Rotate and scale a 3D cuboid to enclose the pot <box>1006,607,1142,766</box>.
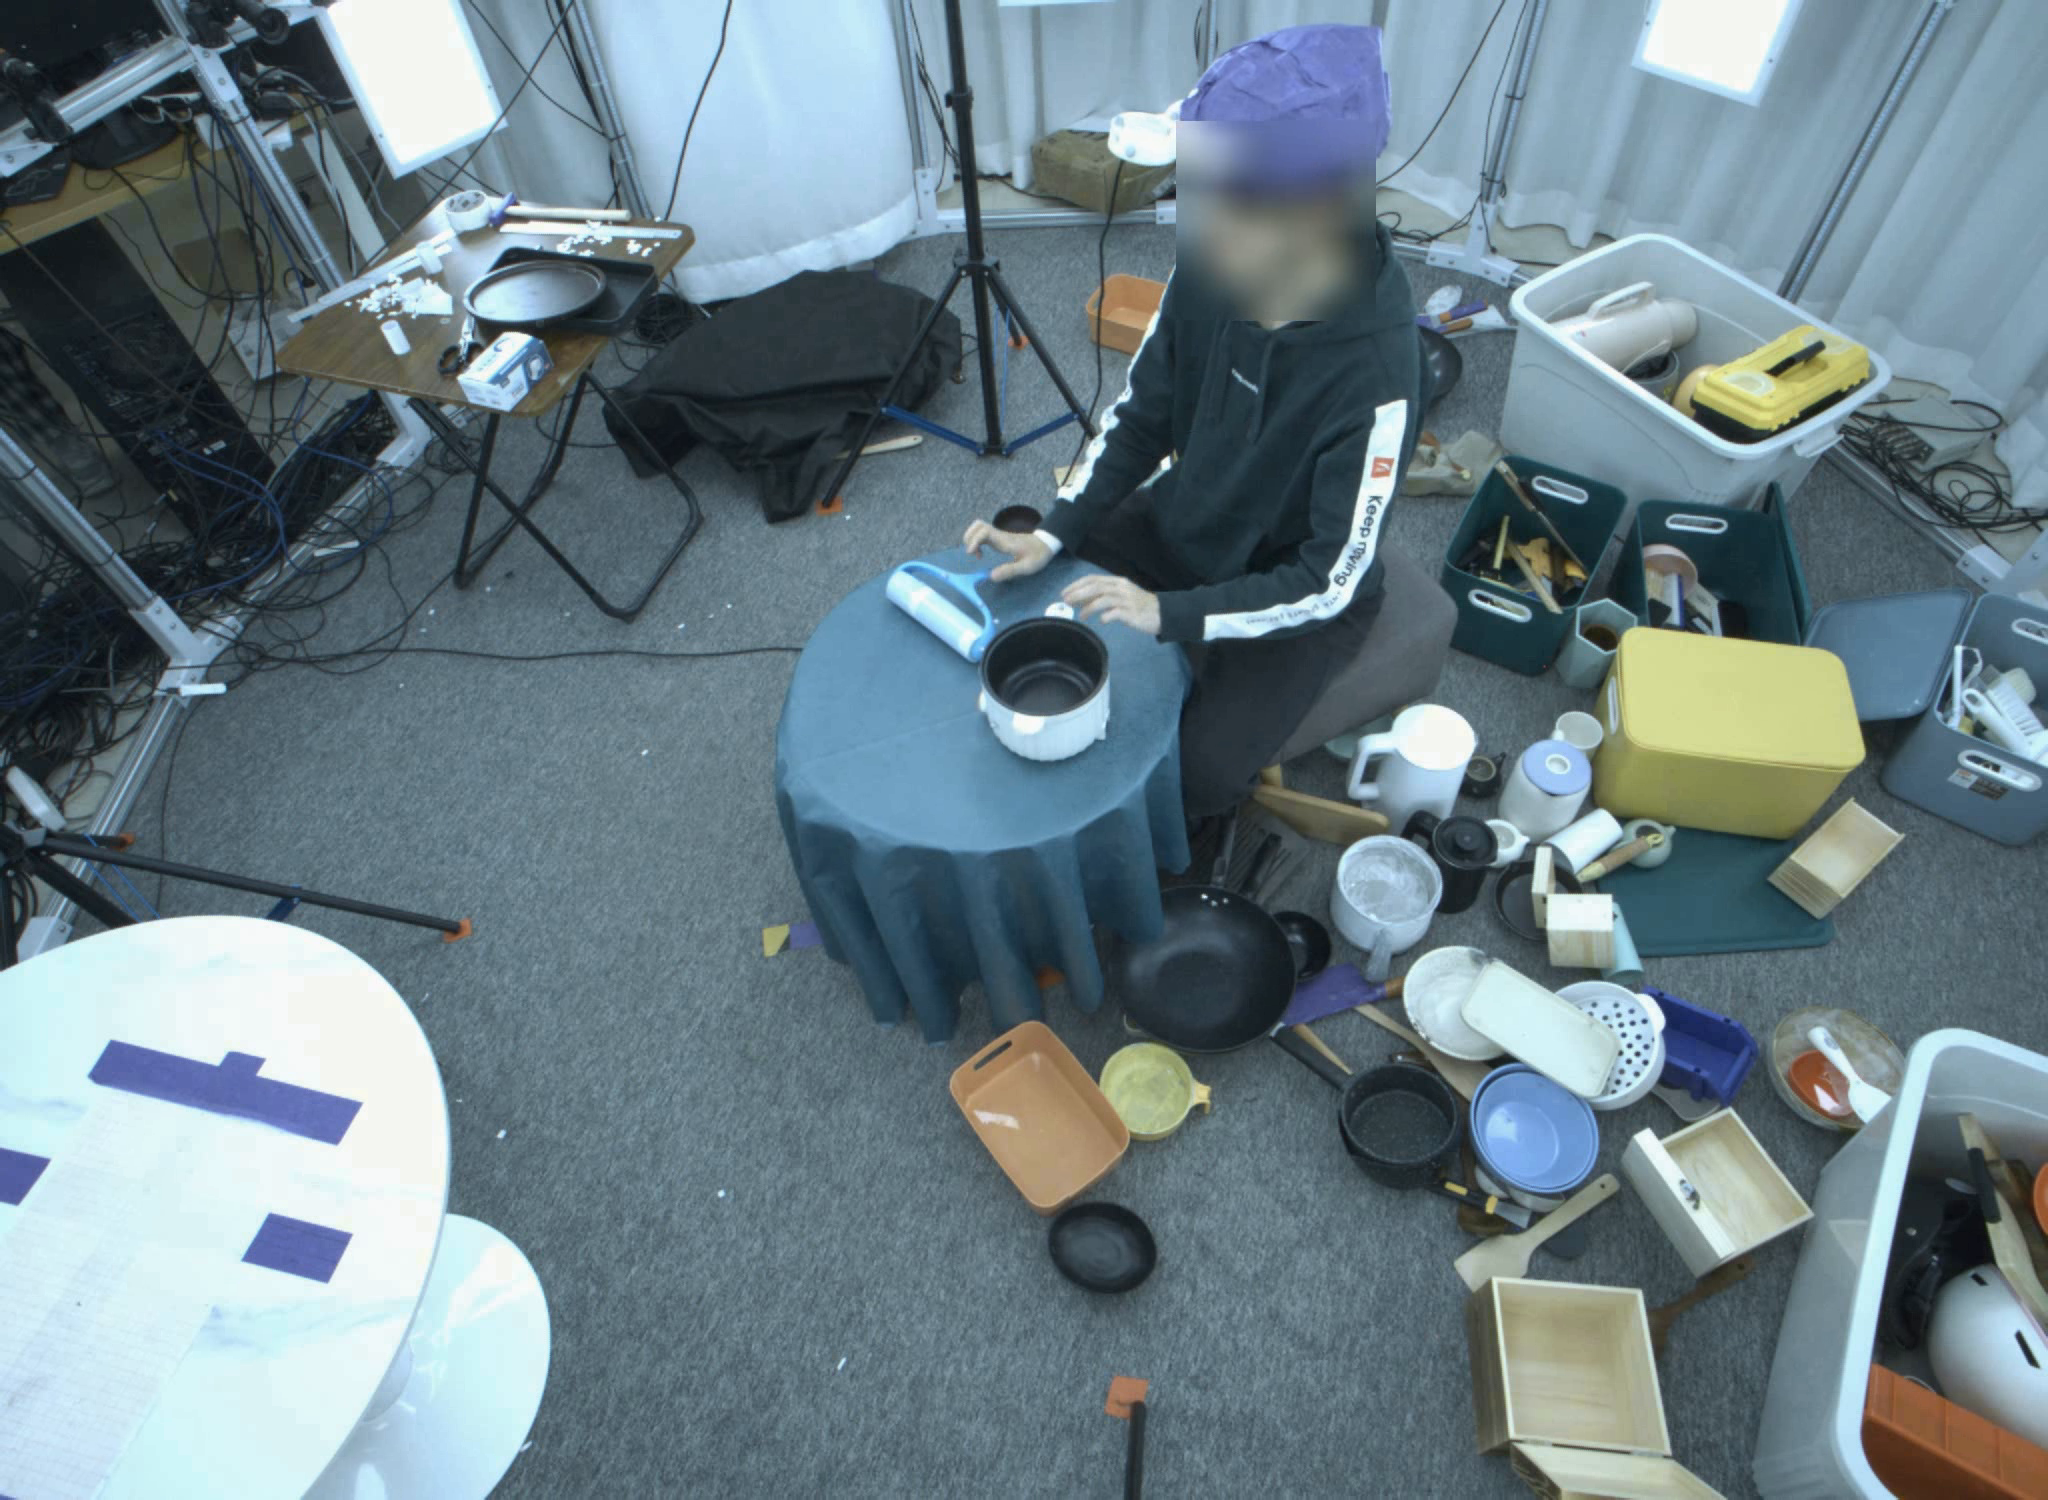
[{"bbox_3d":[0.069,-0.073,1.746,0.189,0.144,0.239,11,55,7],"label":"pot"}]

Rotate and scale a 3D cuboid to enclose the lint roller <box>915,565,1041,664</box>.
[{"bbox_3d":[-0.046,-0.242,1.922,0.224,0.069,0.181,36,65,26],"label":"lint roller"}]
